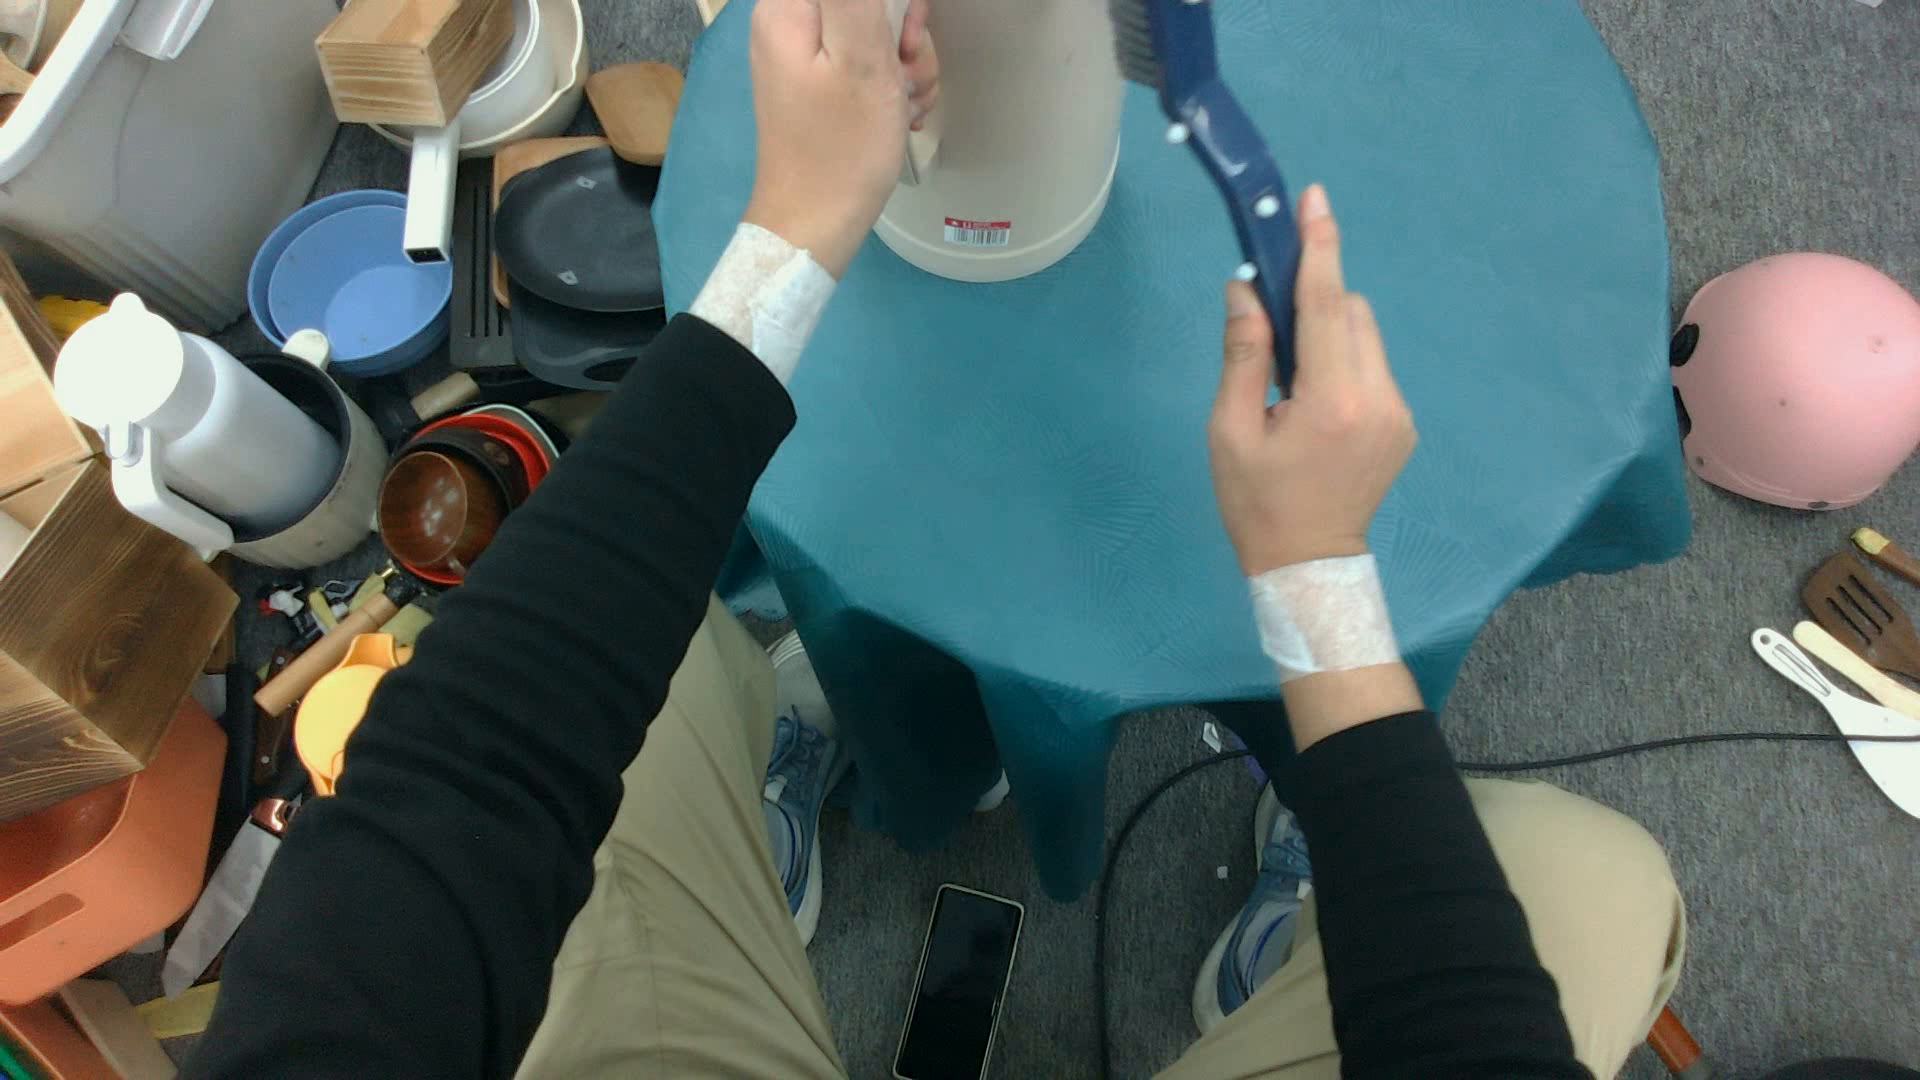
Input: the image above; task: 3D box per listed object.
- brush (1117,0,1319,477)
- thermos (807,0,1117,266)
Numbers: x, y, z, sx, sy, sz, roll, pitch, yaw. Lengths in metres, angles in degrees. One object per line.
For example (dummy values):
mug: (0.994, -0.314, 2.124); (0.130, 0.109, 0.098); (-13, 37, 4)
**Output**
brush: (0.121, -0.137, 0.566); (0.033, 0.095, 0.272); (-40, 121, -20)
thermos: (-0.005, -0.277, 0.636); (0.175, 0.405, 0.207); (24, 75, 5)
